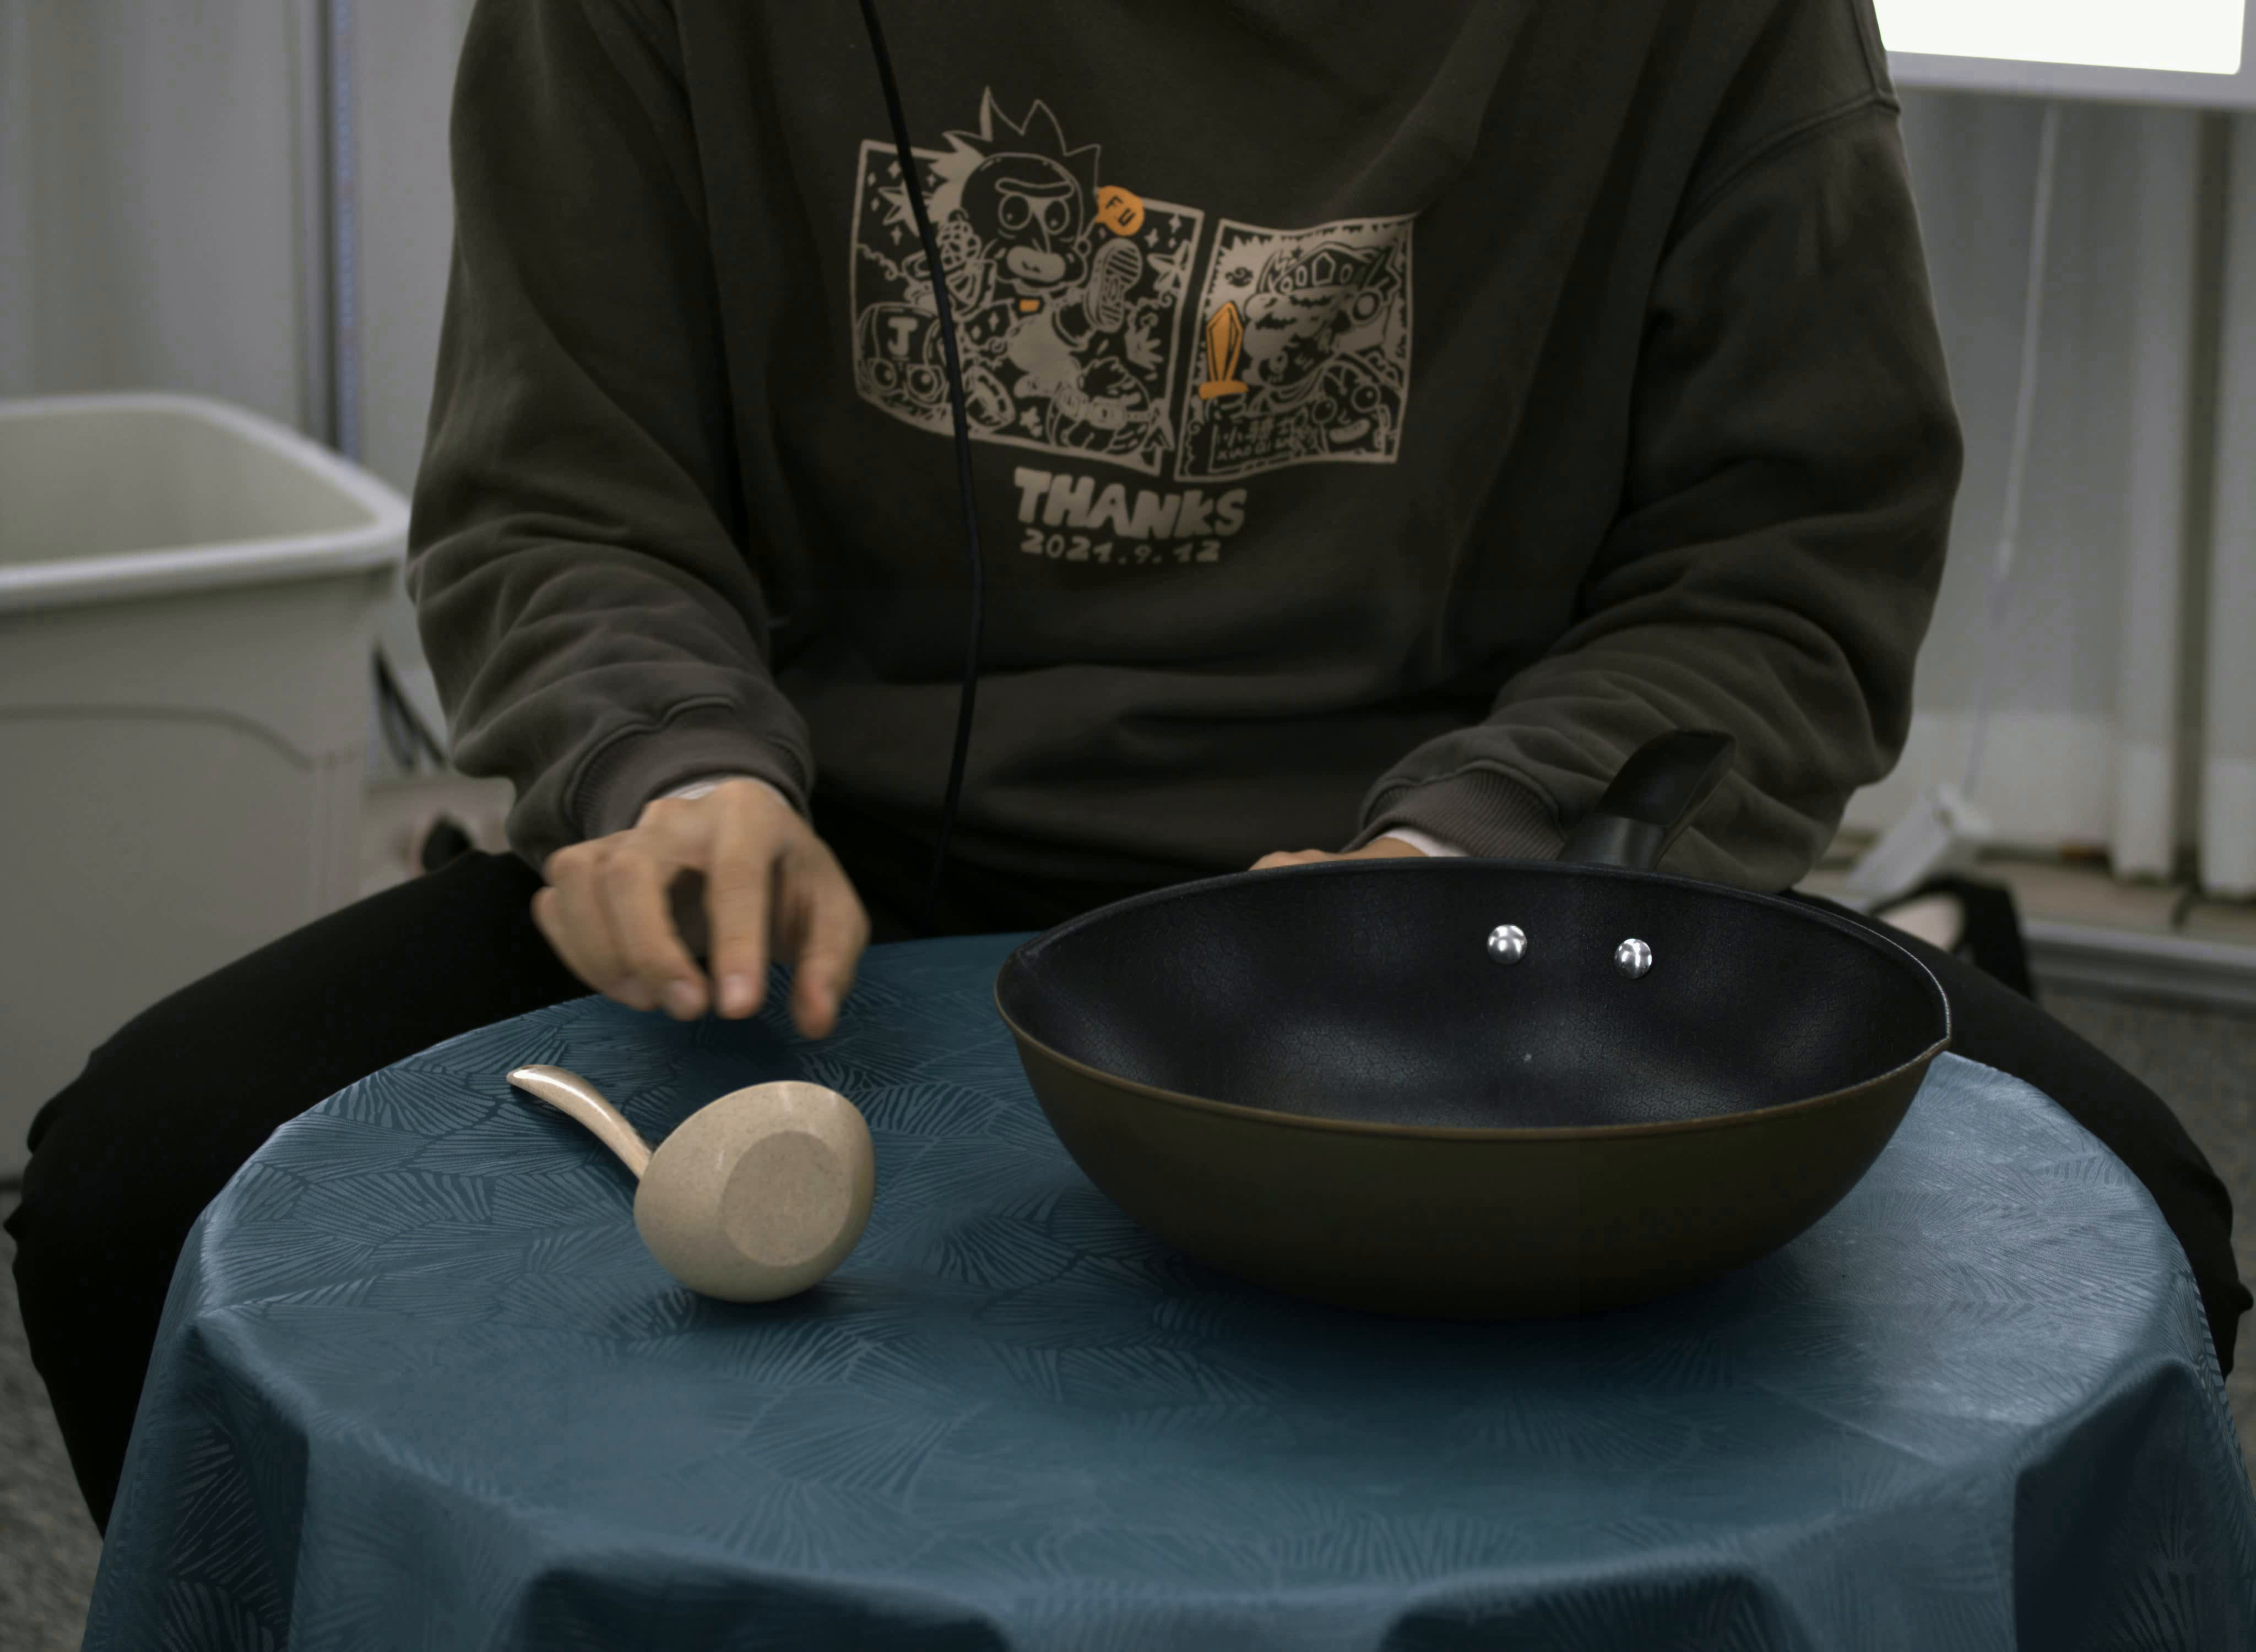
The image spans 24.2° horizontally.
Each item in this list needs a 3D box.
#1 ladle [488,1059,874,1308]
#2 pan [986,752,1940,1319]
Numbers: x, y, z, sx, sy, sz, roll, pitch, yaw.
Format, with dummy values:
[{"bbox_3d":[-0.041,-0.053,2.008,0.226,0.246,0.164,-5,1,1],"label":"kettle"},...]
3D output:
[{"bbox_3d":[-0.151,0.079,1.607,0.072,0.073,0.251,-13,21,-24],"label":"ladle"},{"bbox_3d":[0.127,0.062,1.661,0.285,0.087,0.463,5,15,17],"label":"pan"}]
